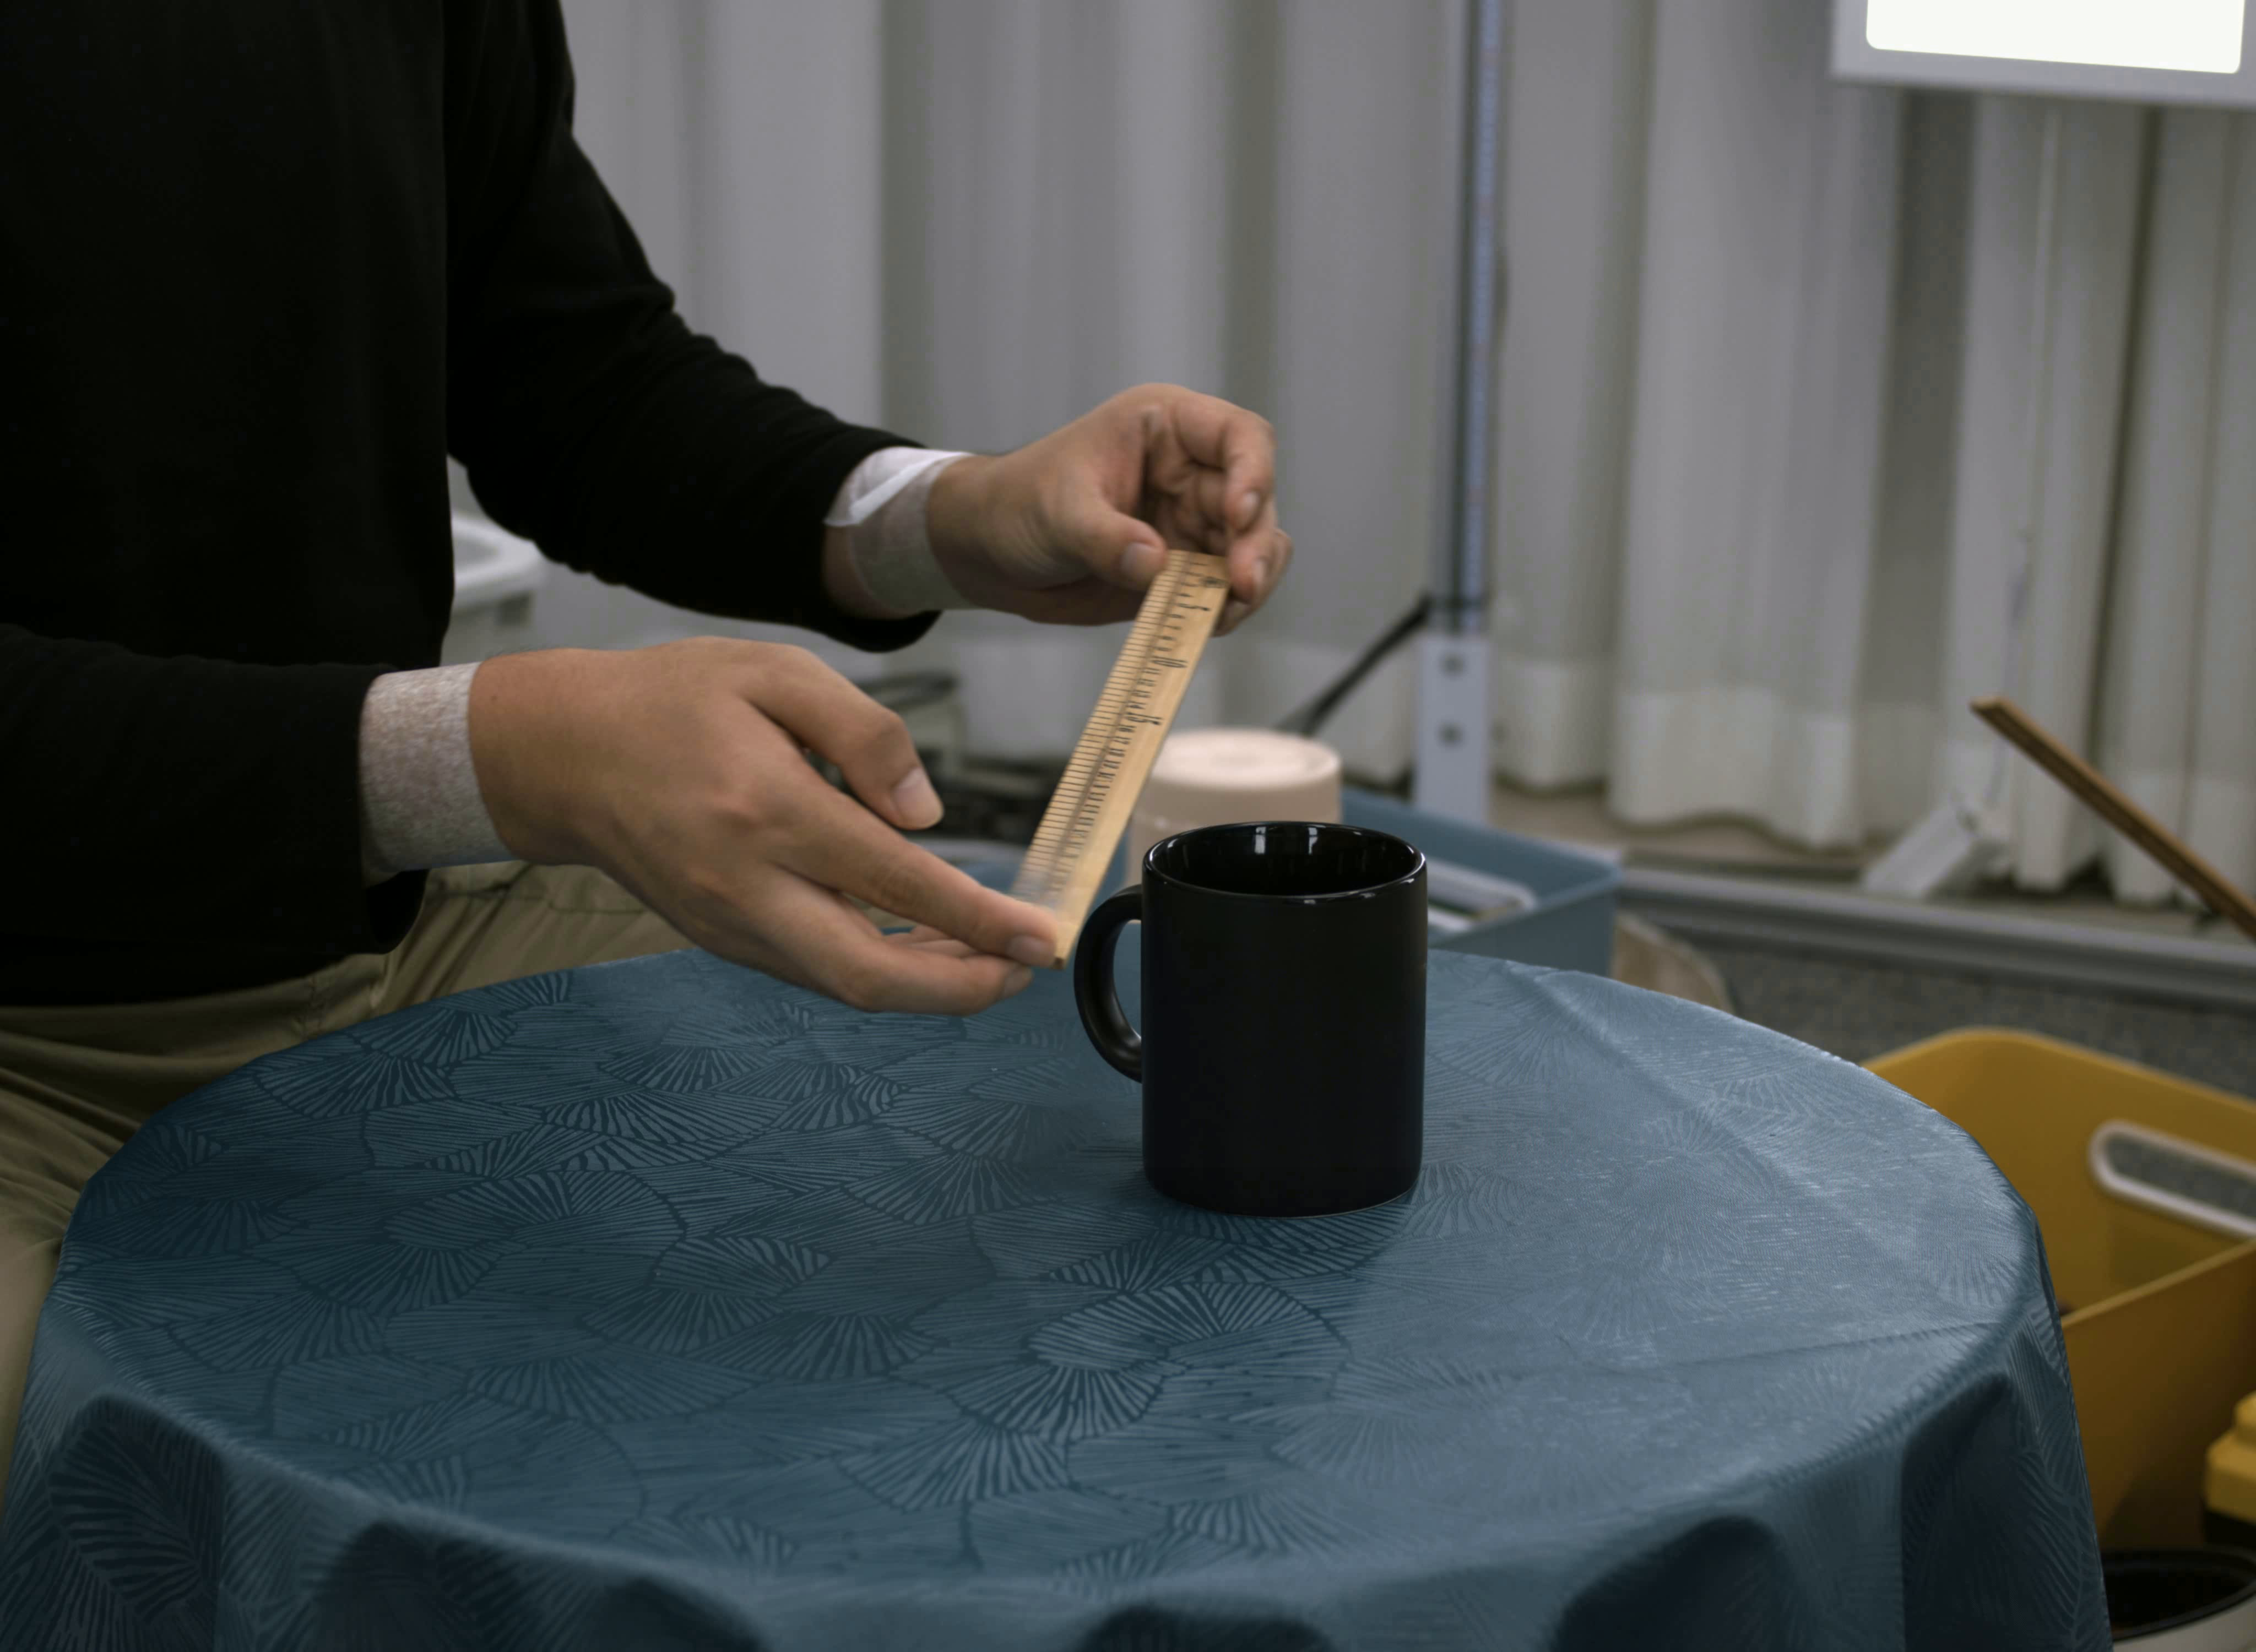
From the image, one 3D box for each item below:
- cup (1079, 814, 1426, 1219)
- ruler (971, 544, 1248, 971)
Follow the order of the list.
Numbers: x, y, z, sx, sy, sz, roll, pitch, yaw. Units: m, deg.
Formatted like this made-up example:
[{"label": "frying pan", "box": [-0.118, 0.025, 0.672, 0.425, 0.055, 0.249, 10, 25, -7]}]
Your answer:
[{"label": "cup", "box": [0.034, 0.055, 1.635, 0.122, 0.106, 0.089, 14, 23, 38]}, {"label": "ruler", "box": [-0.002, -0.030, 1.647, 0.027, 0.022, 0.330, 15, 25, 6]}]
